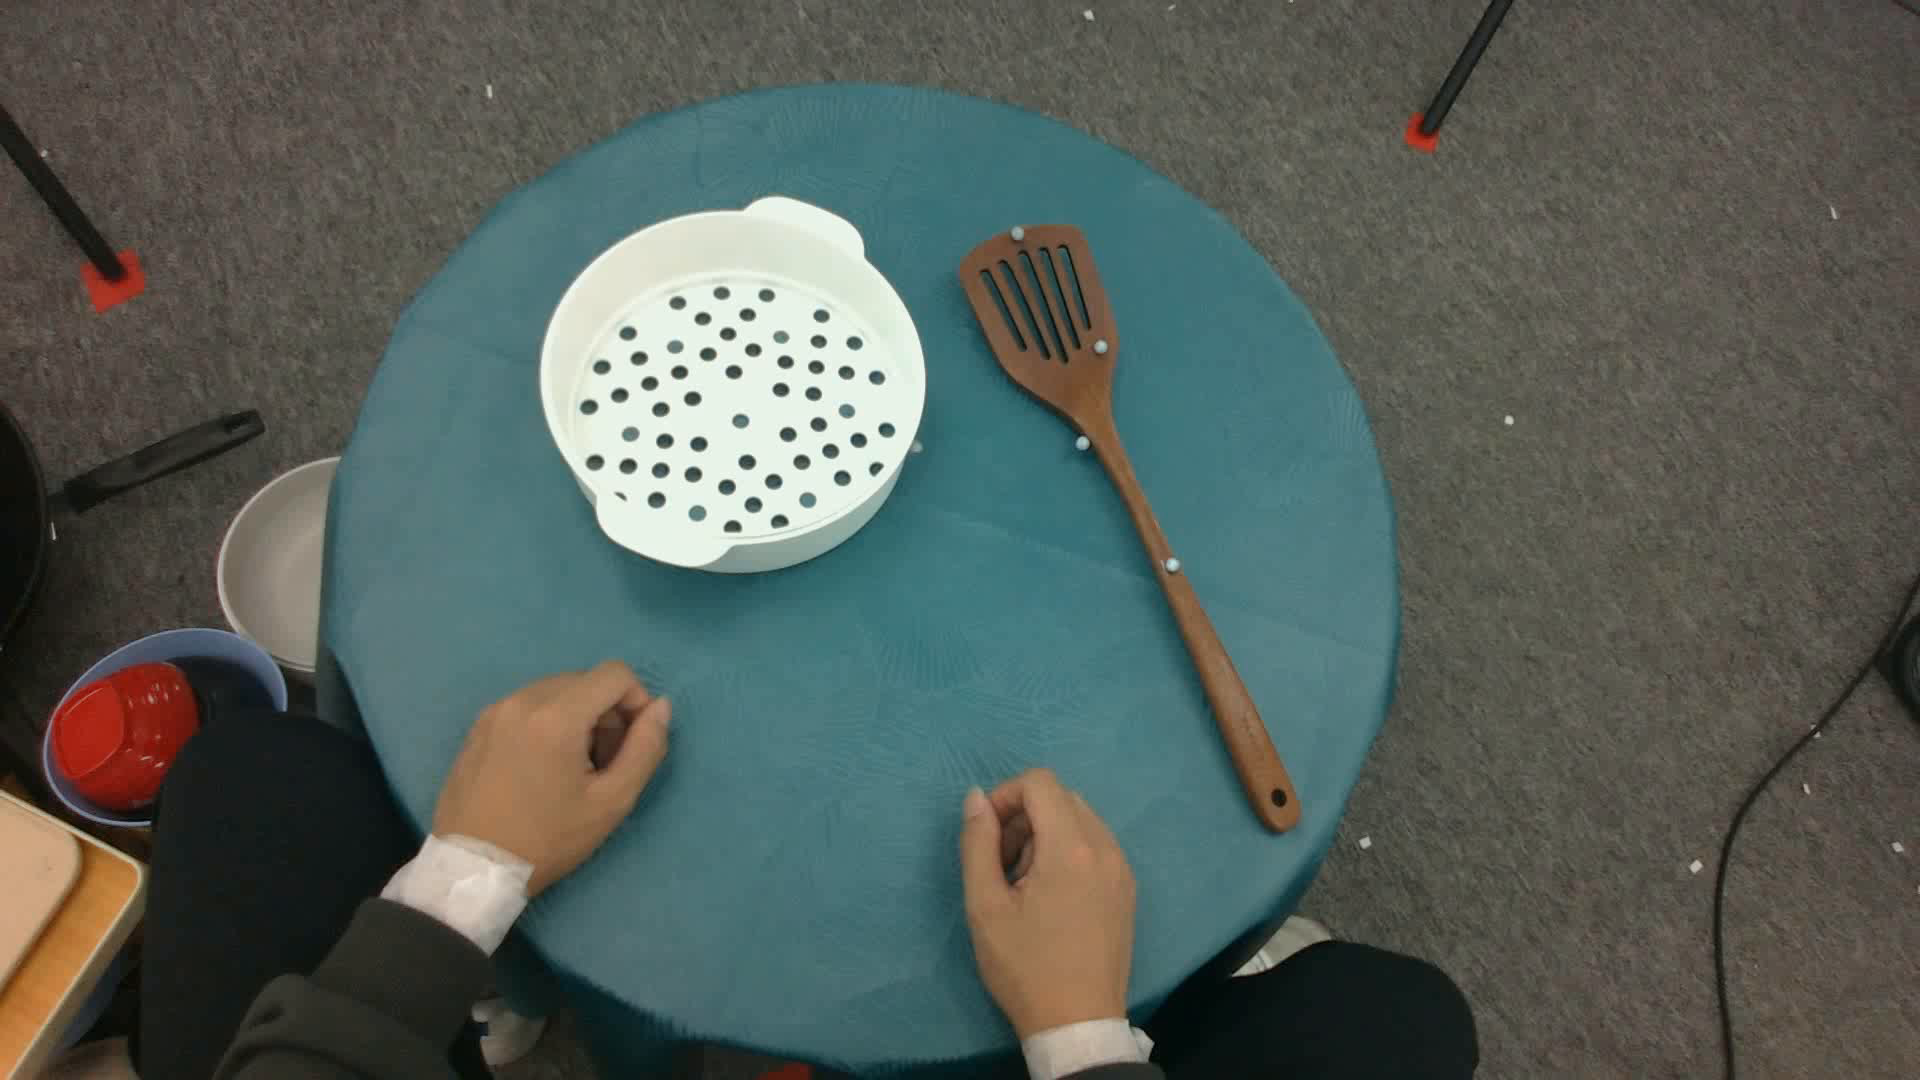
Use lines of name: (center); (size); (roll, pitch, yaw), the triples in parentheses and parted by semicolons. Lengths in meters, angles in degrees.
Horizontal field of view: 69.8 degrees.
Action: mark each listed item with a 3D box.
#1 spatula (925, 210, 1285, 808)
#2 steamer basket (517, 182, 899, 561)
spatula: (0.090, -0.025, 0.793); (0.086, 0.023, 0.386); (-21, 73, -14)
steamer basket: (-0.136, -0.087, 0.762); (0.202, 0.069, 0.231); (18, 69, 2)
